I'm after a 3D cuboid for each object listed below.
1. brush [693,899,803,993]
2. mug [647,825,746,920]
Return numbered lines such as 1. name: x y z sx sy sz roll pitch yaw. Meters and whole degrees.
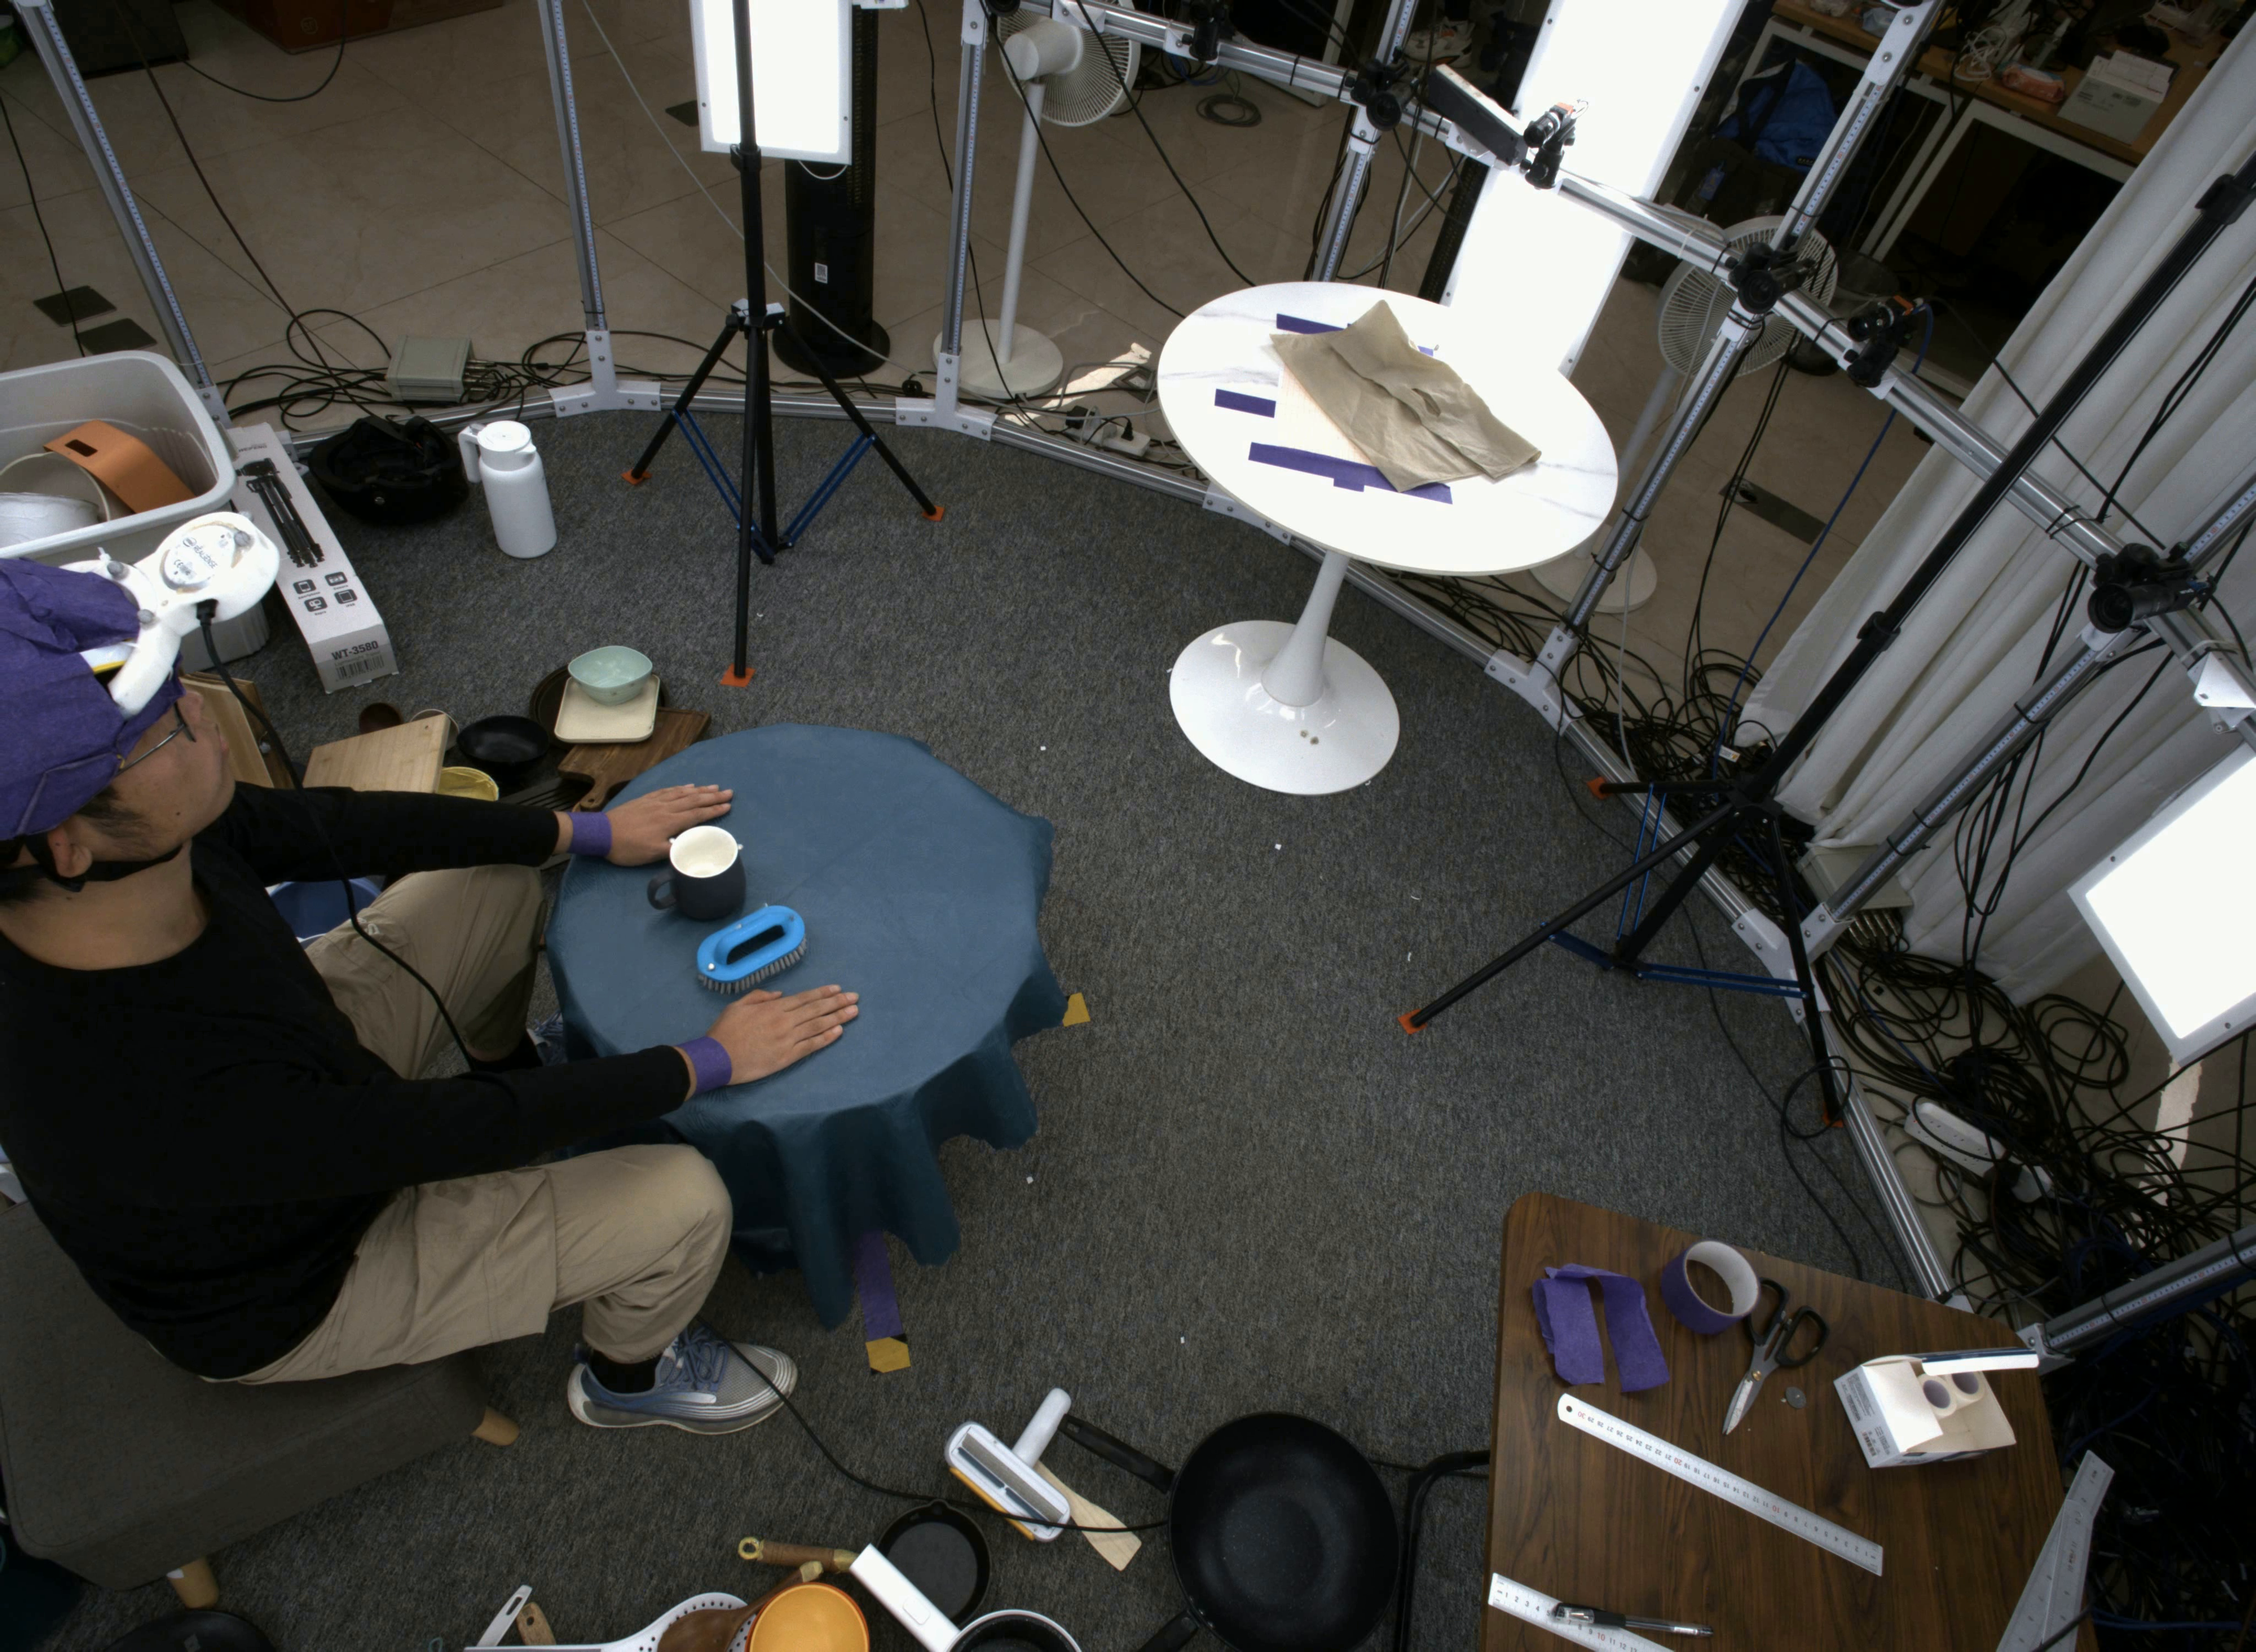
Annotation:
1. brush: -0.460 0.138 1.574 0.142 0.065 0.083 -29 69 -29
2. mug: -0.536 0.060 1.593 0.124 0.092 0.091 -24 60 -30
